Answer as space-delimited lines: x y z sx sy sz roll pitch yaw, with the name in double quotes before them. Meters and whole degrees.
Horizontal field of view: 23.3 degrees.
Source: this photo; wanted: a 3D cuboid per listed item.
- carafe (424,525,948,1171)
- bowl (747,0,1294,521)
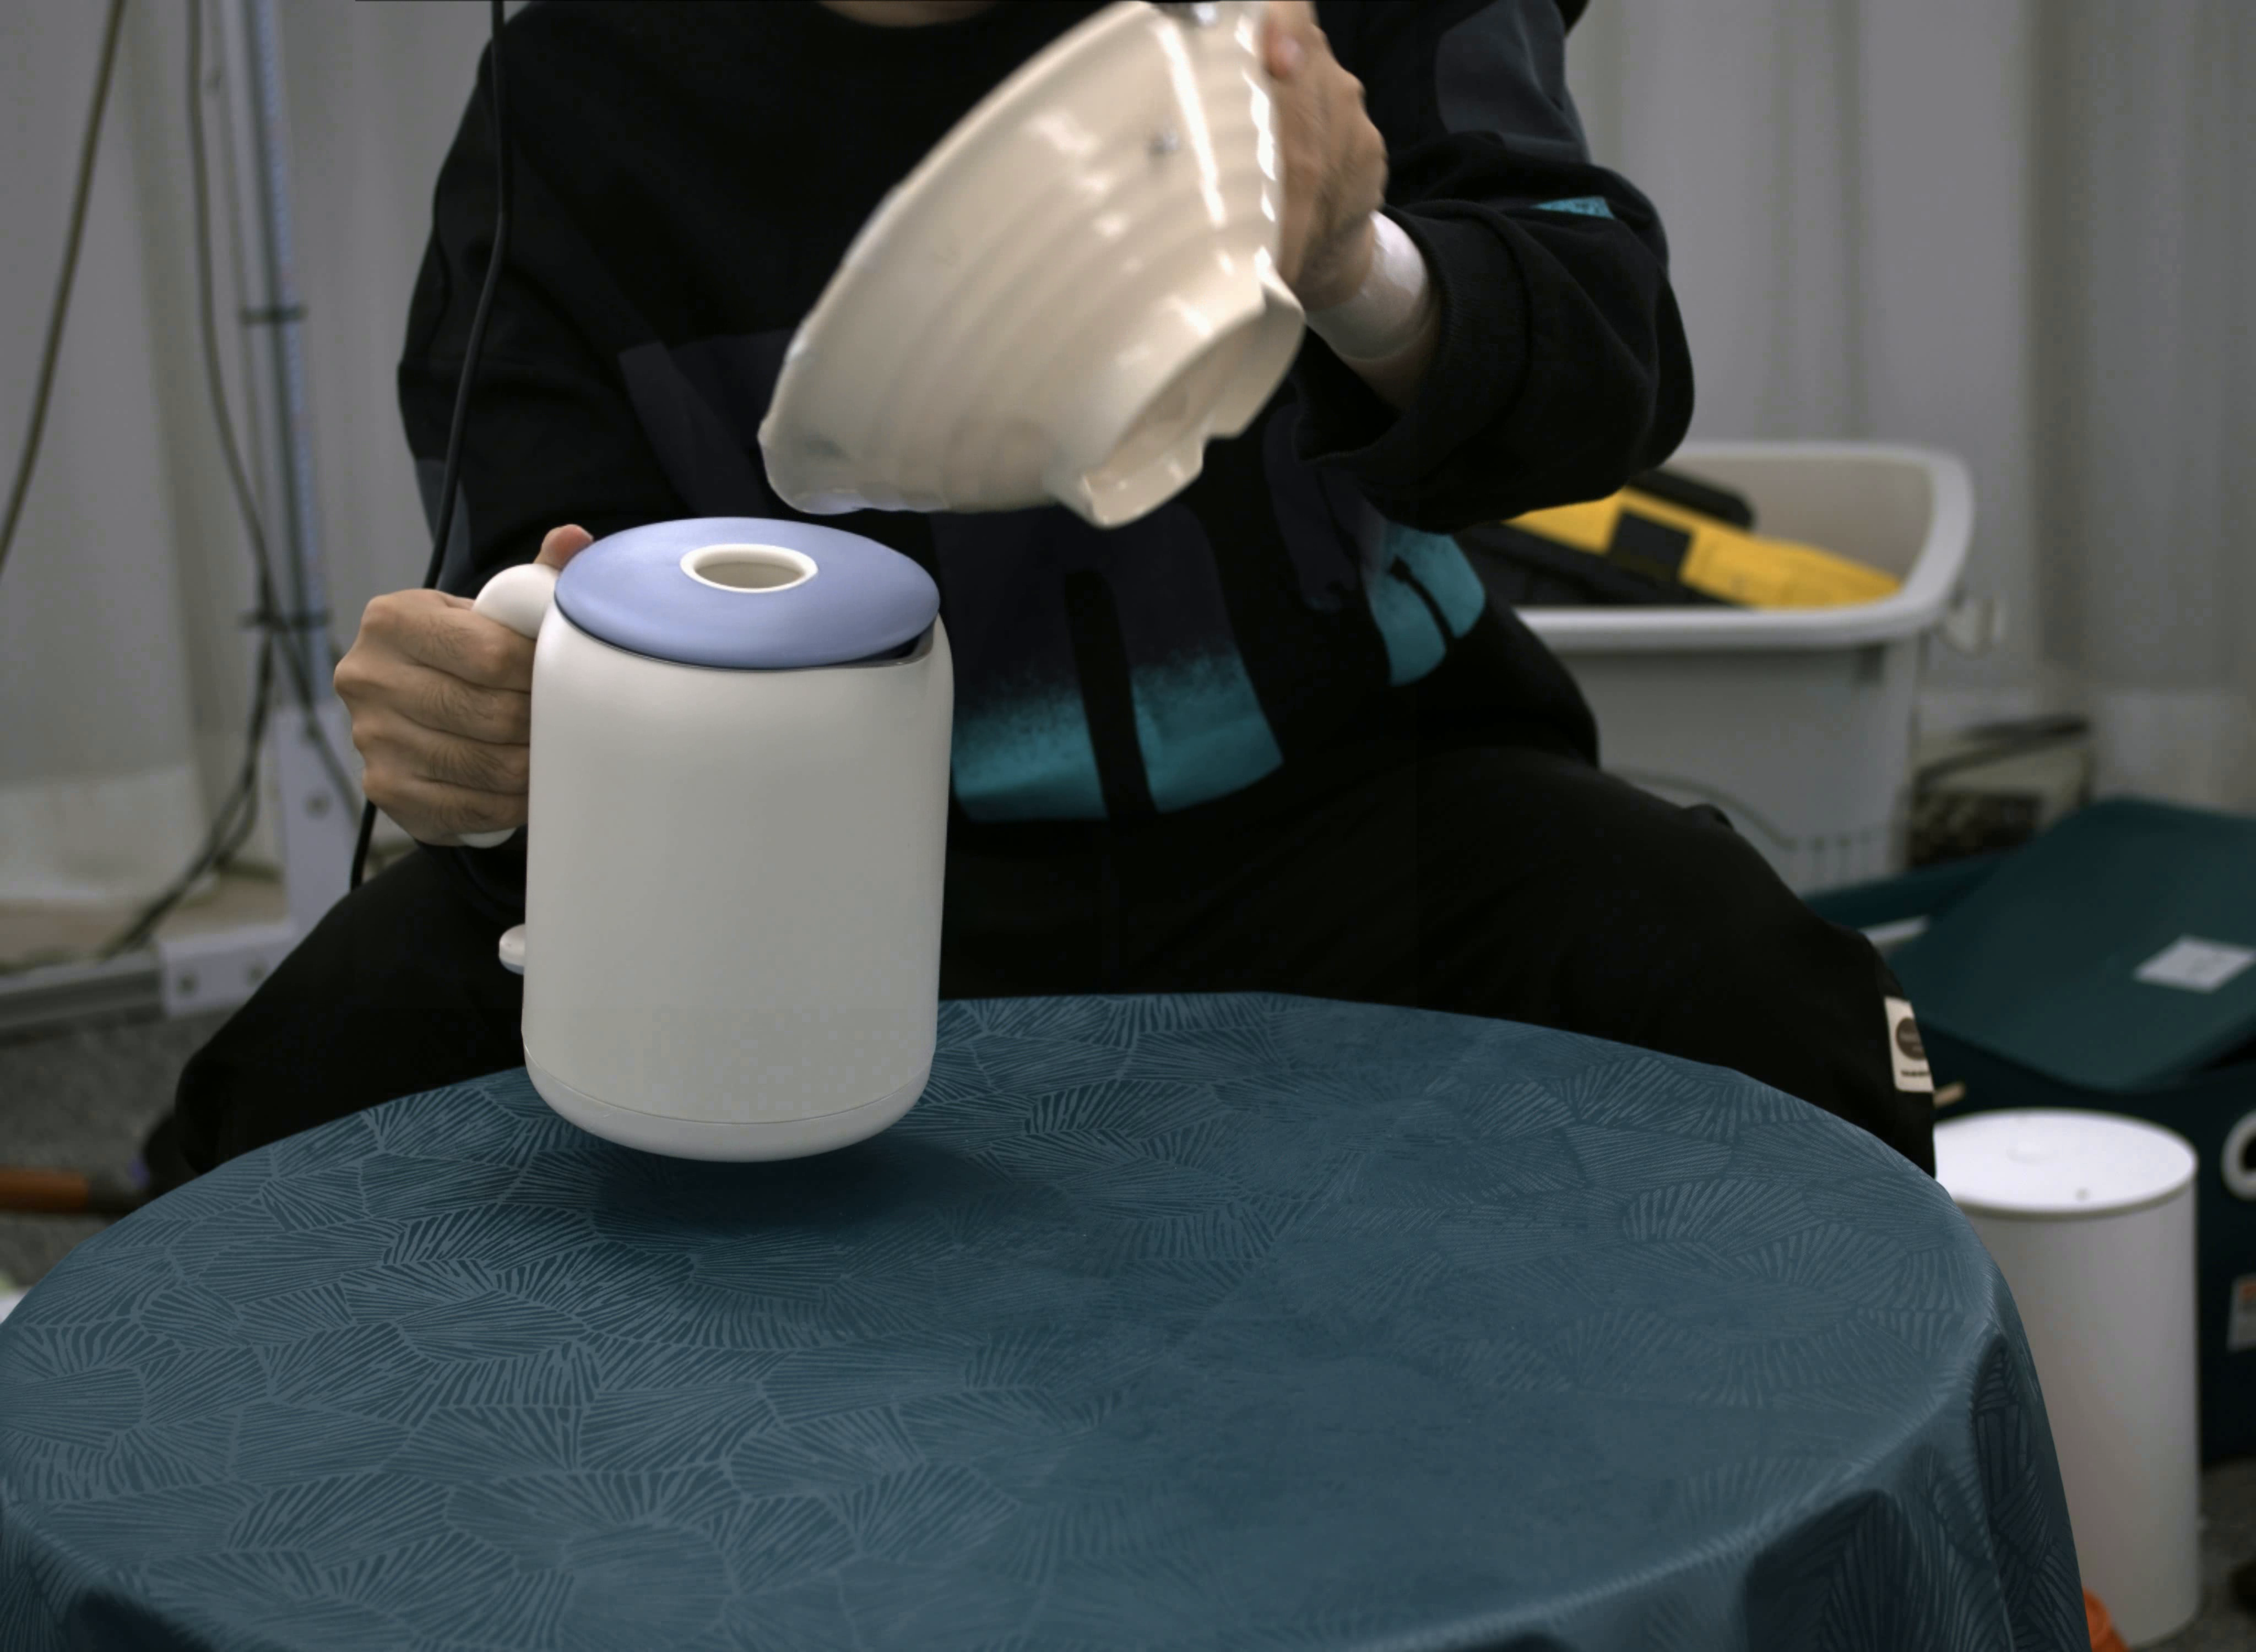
"carafe" -0.143 0.001 1.719 0.192 0.181 0.132 13 21 31
"bowl" -0.010 -0.146 1.588 0.078 0.202 0.204 44 35 19
